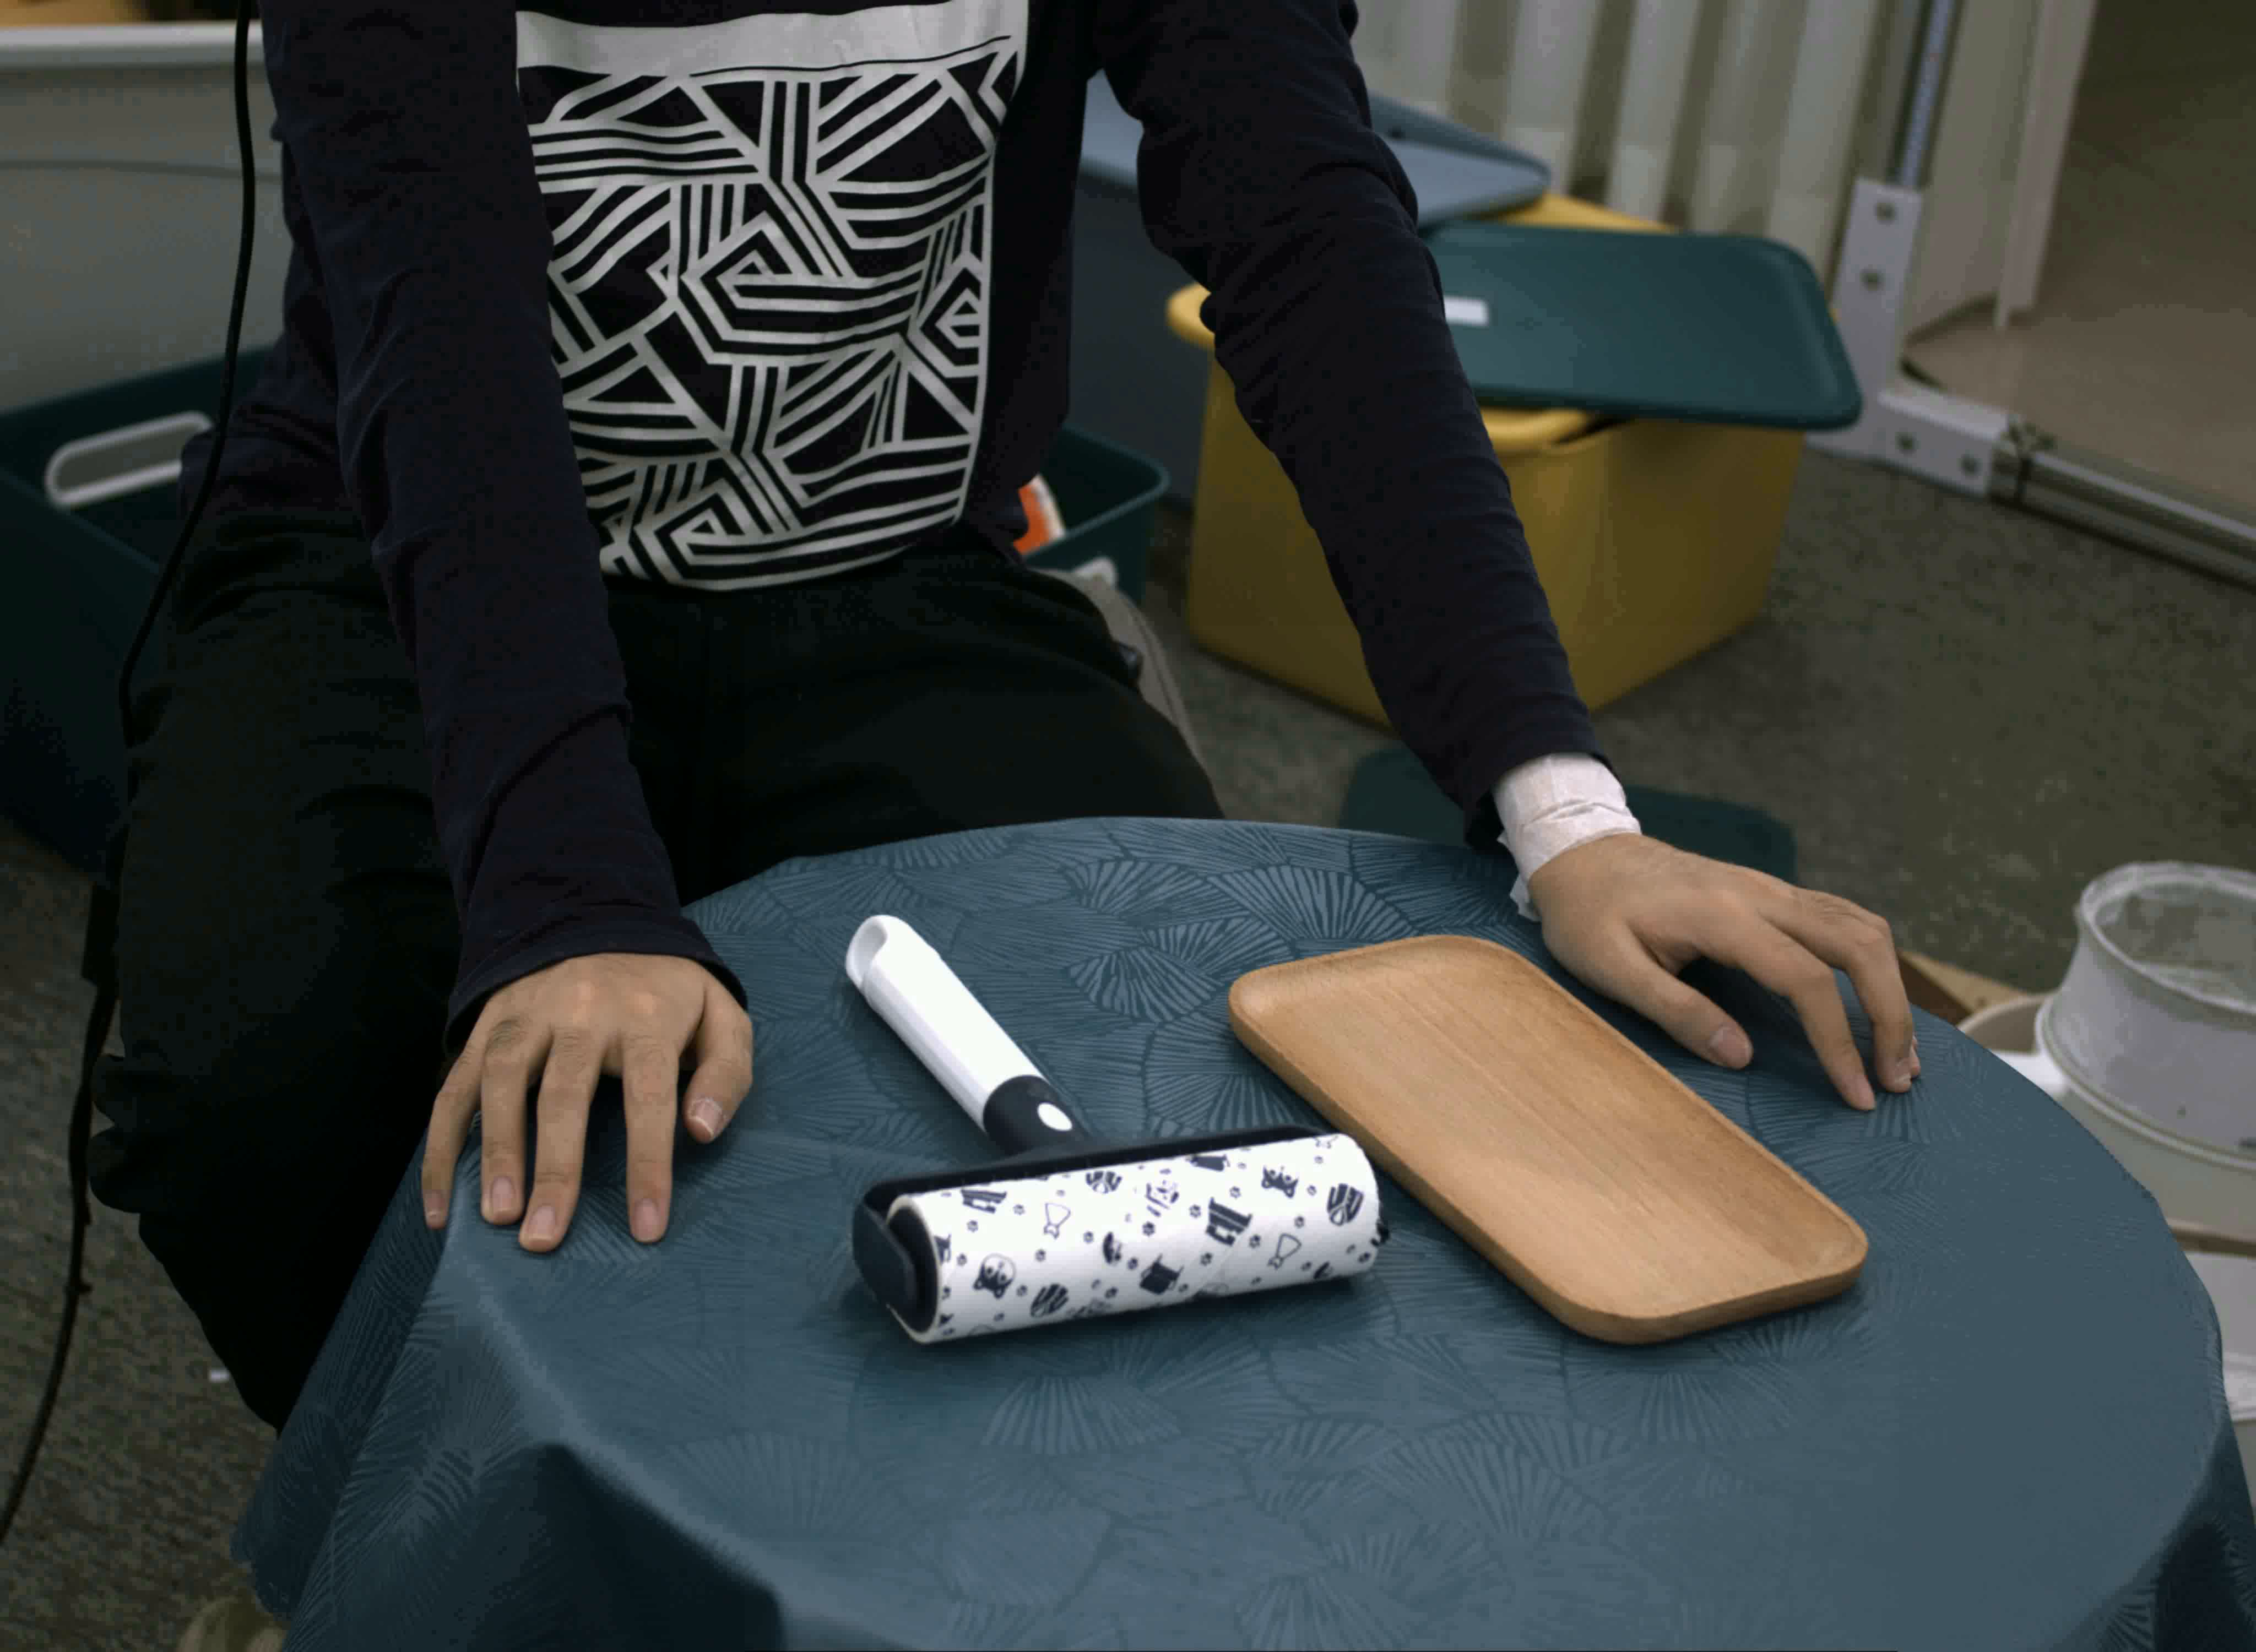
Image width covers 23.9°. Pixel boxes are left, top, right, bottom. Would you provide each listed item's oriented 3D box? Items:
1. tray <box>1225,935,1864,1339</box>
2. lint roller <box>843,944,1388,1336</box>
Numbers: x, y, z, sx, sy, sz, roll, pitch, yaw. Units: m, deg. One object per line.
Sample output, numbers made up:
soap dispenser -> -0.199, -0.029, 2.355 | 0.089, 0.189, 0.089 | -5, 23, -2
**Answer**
tray -> 0.141, 0.106, 1.856 | 0.129, 0.023, 0.253 | -7, 28, -30
lint roller -> -0.043, 0.092, 1.816 | 0.175, 0.050, 0.249 | -8, 27, -25
